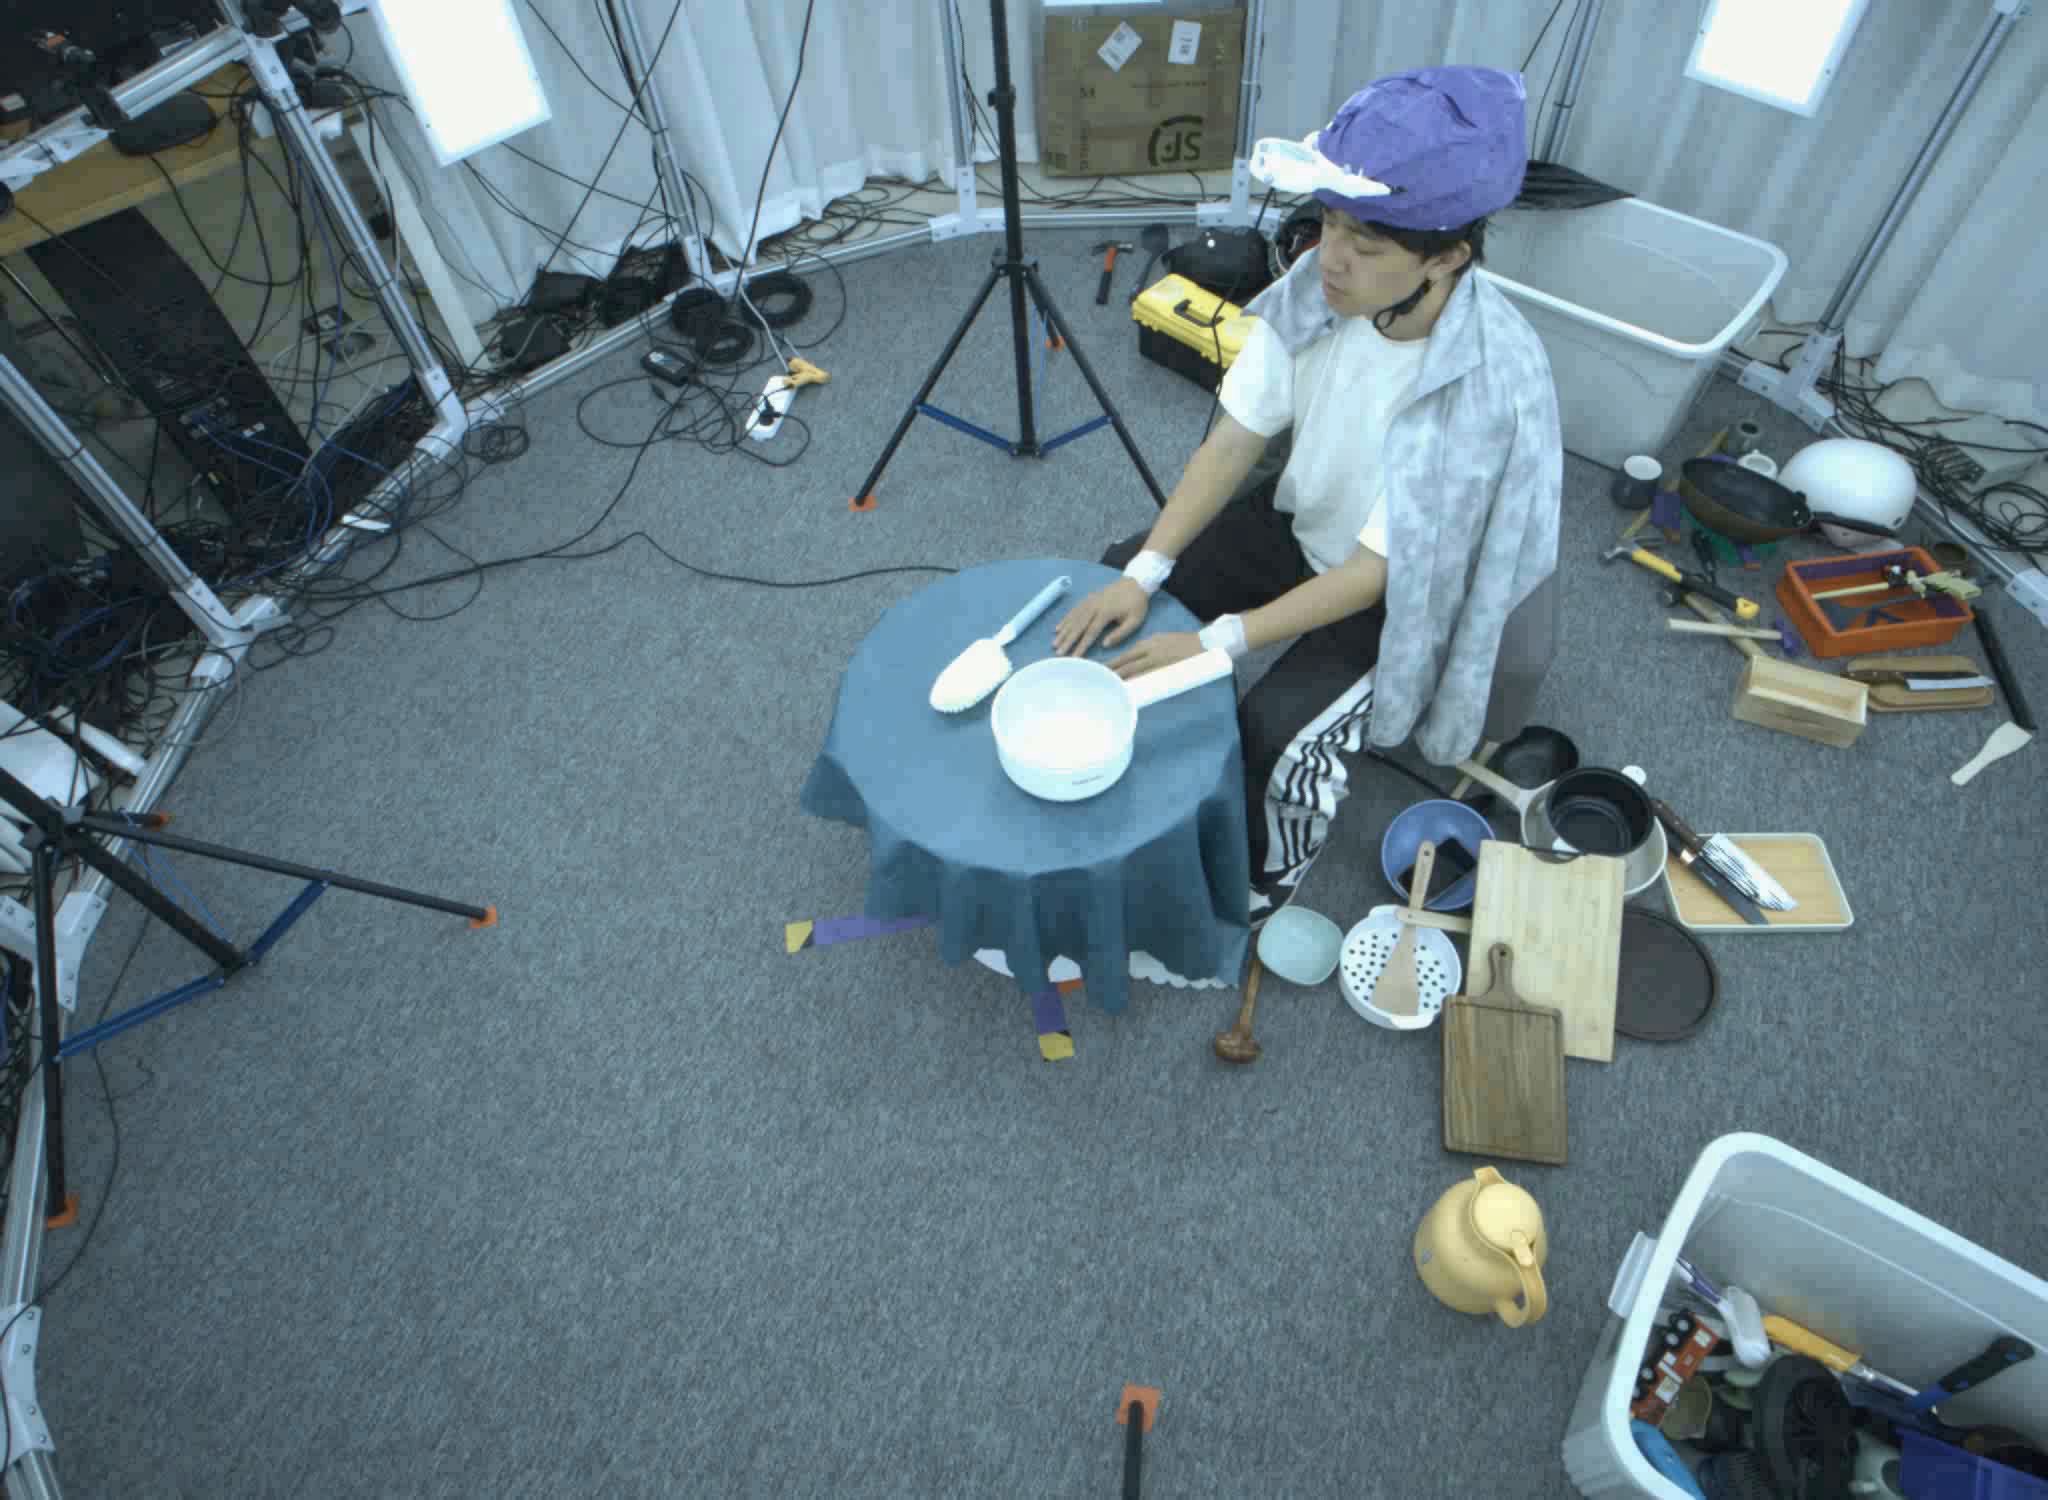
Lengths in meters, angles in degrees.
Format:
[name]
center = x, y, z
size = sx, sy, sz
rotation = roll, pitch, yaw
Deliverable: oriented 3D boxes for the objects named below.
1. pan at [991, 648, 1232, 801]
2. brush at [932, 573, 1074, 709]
[pan]
center = 0.128, -0.050, 1.761
size = 0.357, 0.103, 0.197
rotation = -20, 56, -13
[brush]
center = -0.016, -0.175, 1.864
size = 0.083, 0.084, 0.327
rotation = 31, 62, 27
